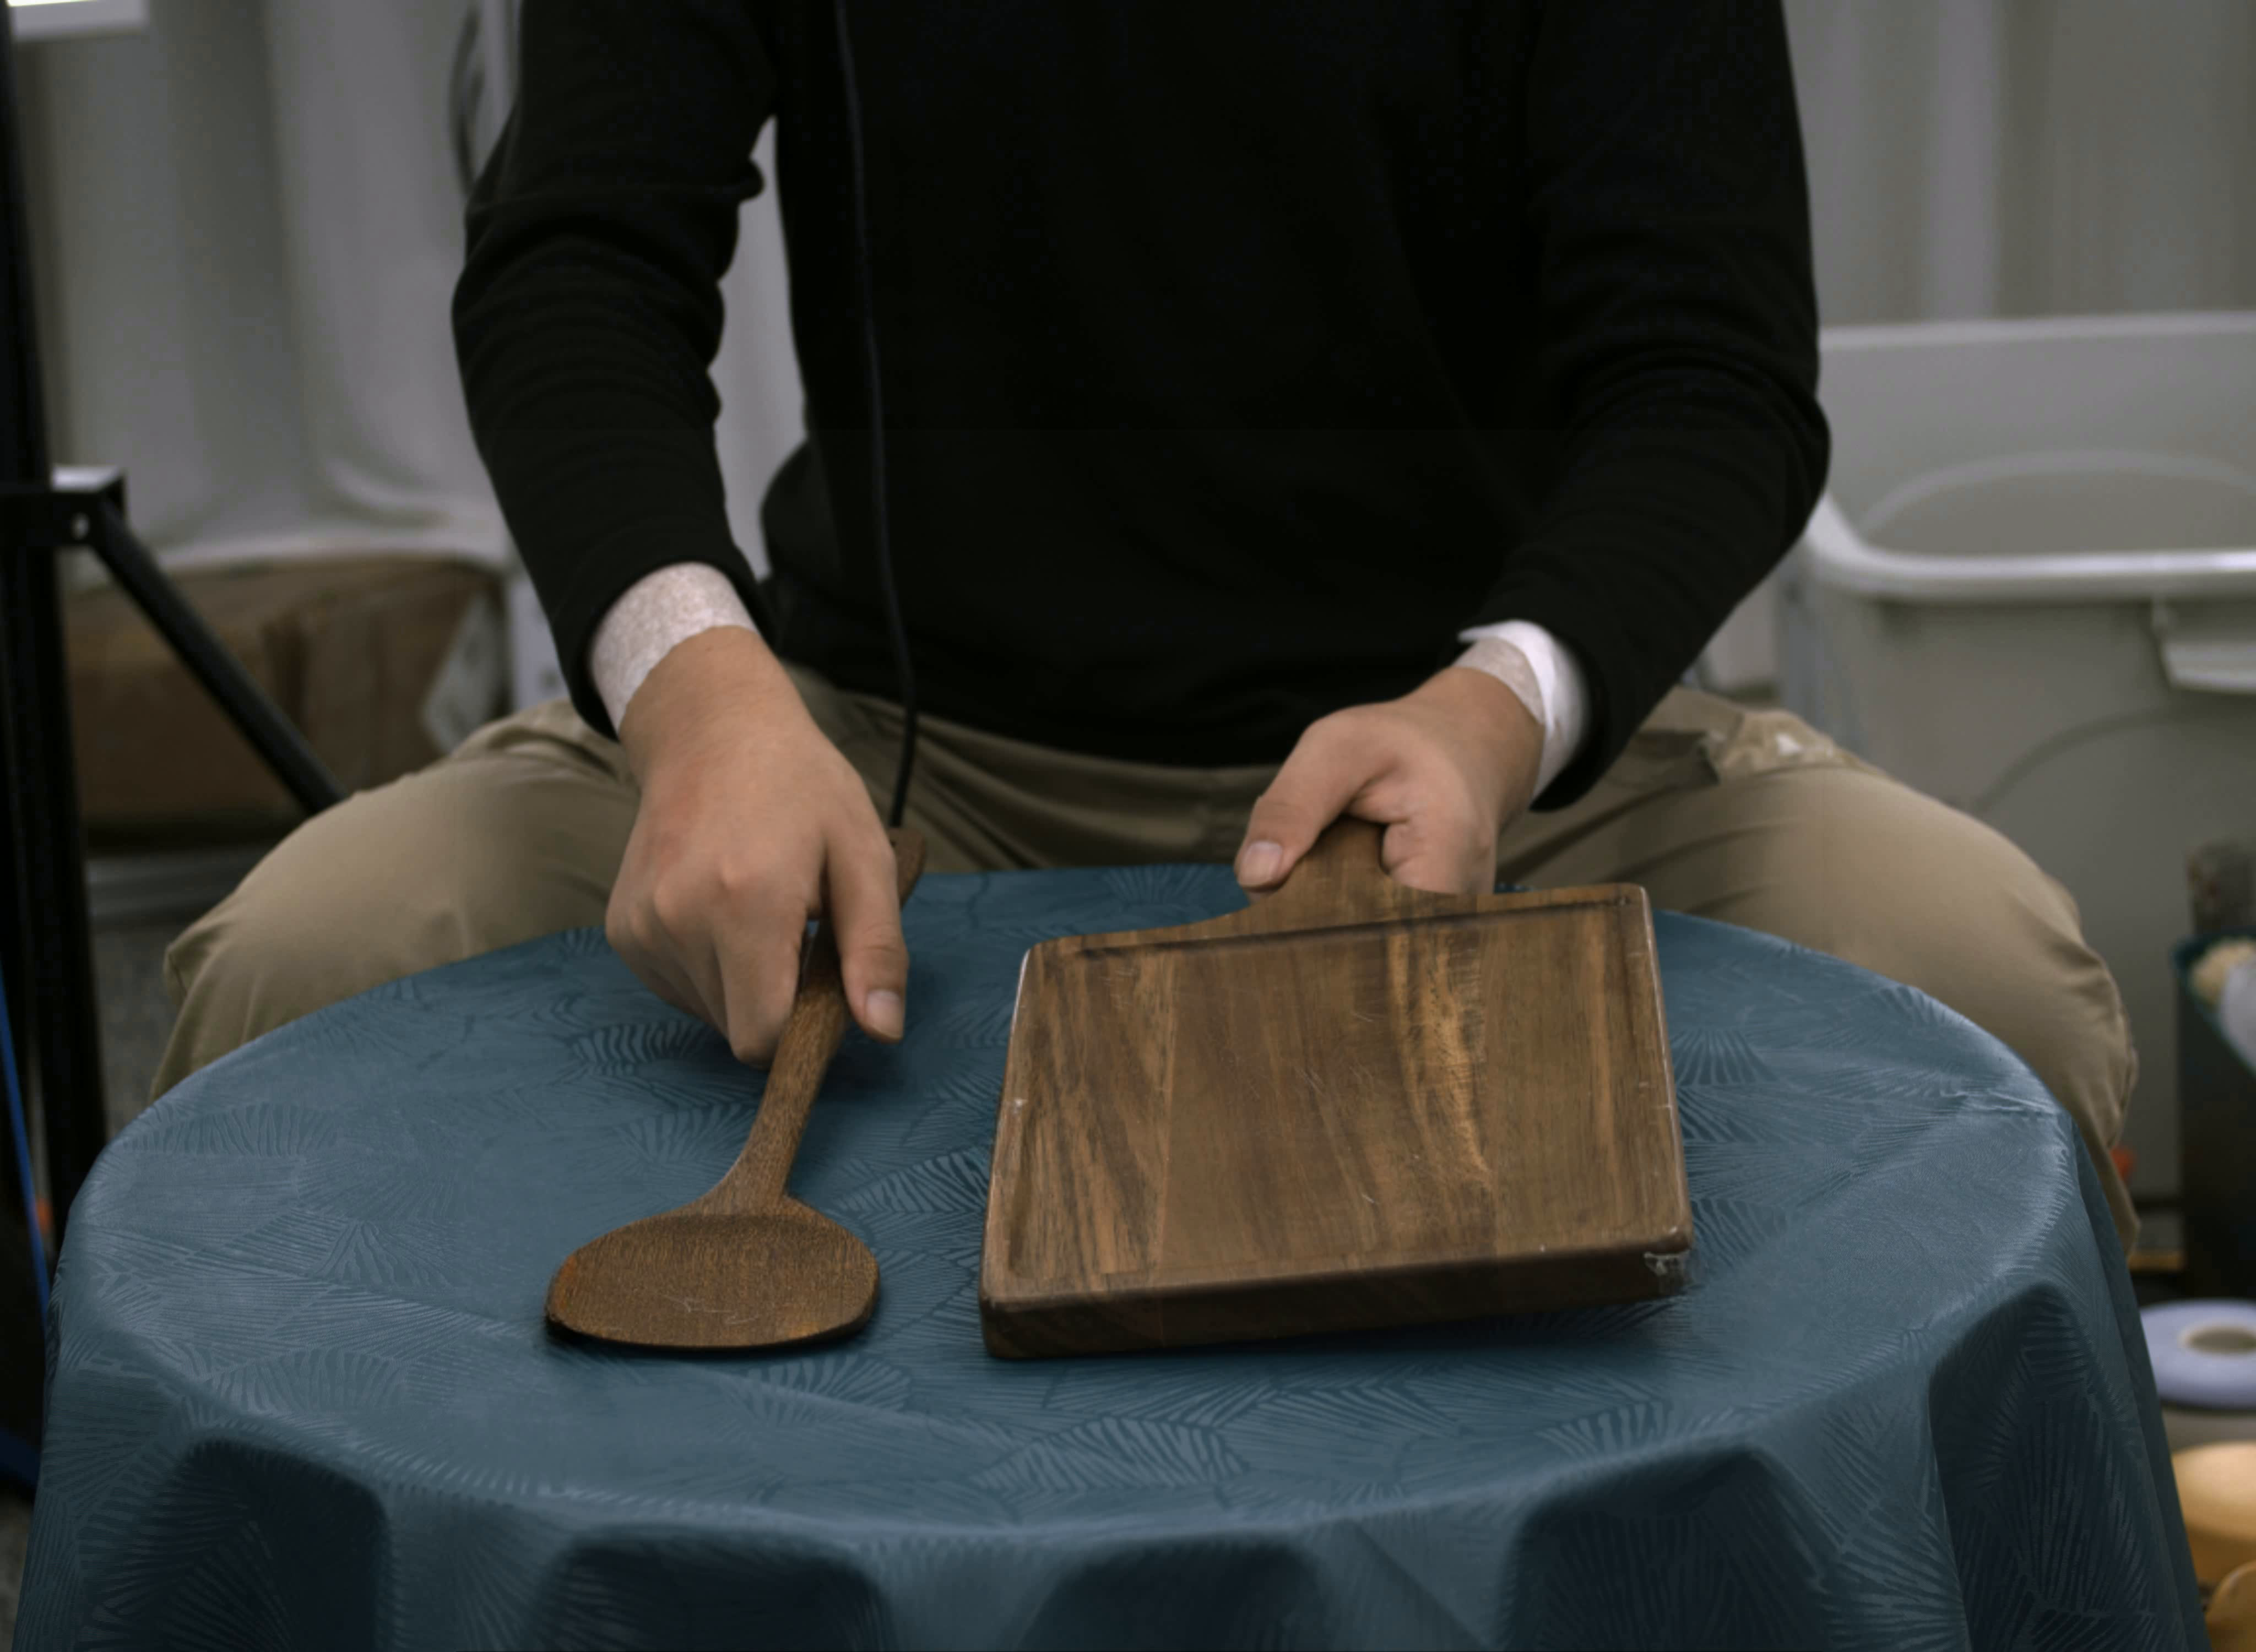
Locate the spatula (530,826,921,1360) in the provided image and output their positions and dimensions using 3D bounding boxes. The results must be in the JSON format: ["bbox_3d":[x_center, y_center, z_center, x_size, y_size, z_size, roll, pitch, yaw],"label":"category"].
[{"bbox_3d":[-0.101,0.073,1.621,0.096,0.016,0.386,0,22,6],"label":"spatula"}]

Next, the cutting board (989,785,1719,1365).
[{"bbox_3d":[0.063,0.062,1.578,0.201,0.023,0.353,-7,22,5],"label":"cutting board"}]
